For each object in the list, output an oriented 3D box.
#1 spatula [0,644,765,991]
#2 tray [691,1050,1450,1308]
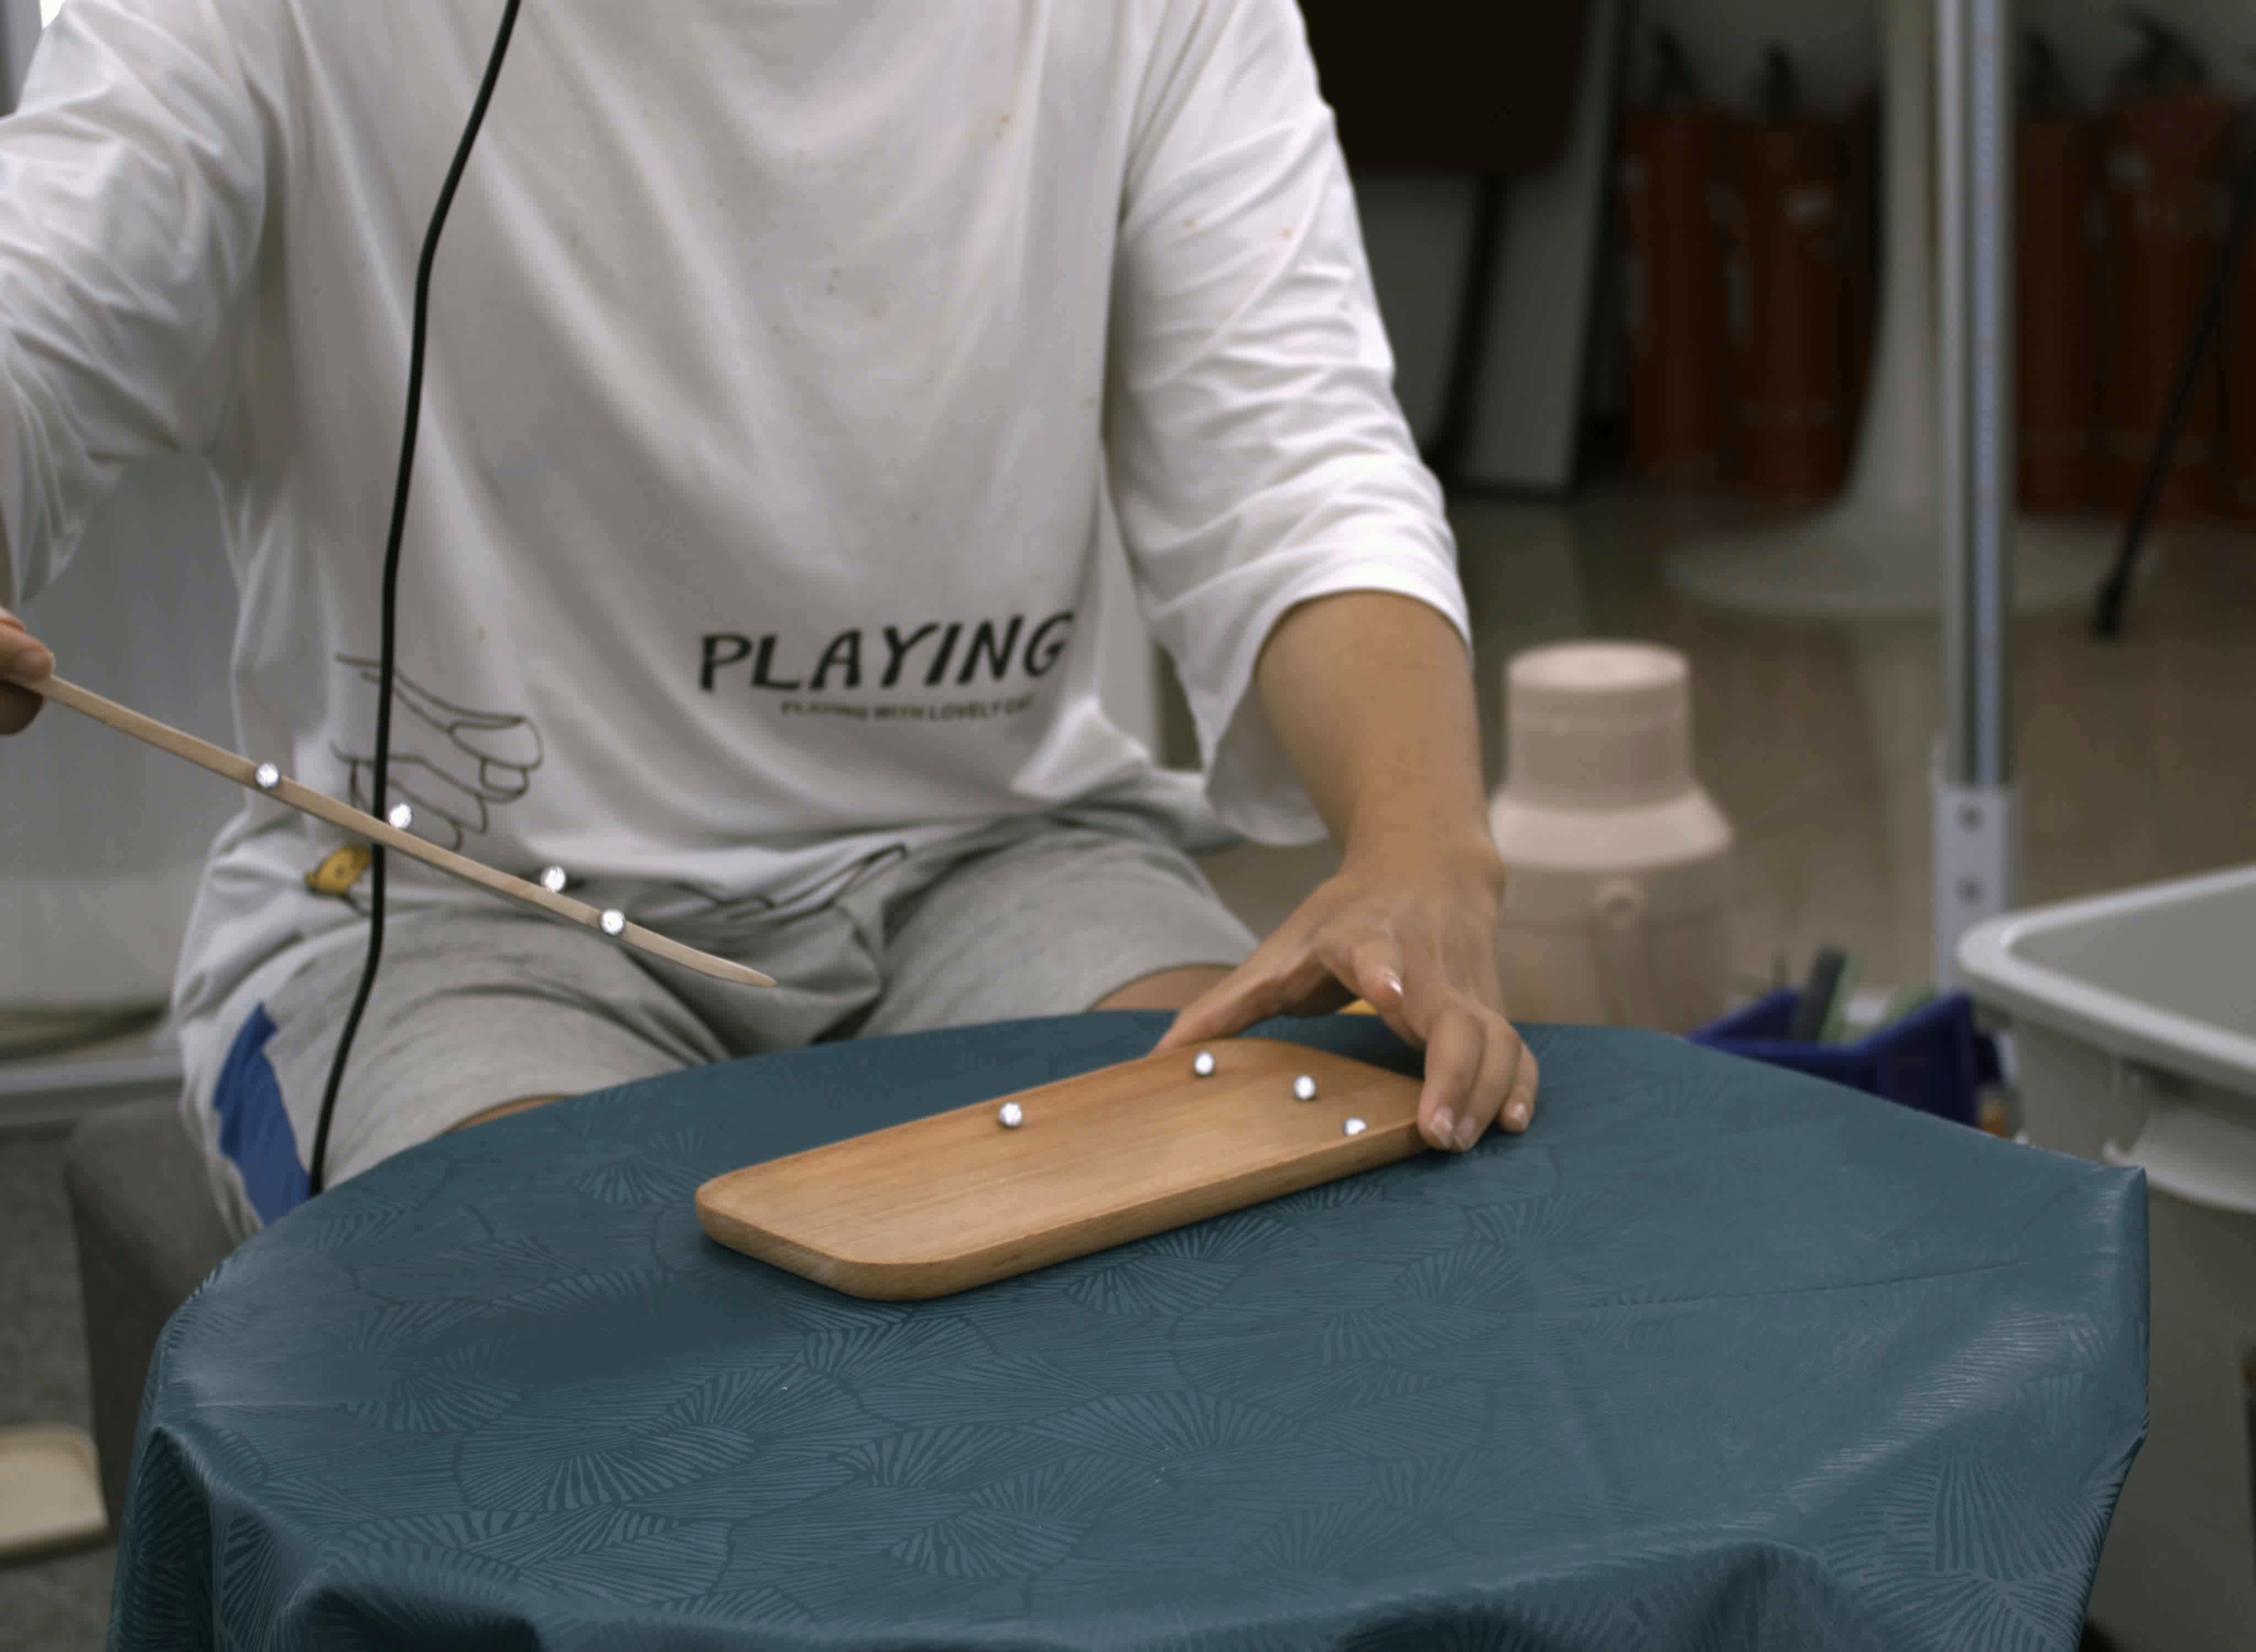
[{"bbox_3d":[-0.246,-0.007,1.669,0.288,0.011,0.073,25,-5,-18],"label":"spatula"},{"bbox_3d":[-0.016,0.115,1.780,0.245,0.023,0.132,-14,14,-34],"label":"tray"}]
